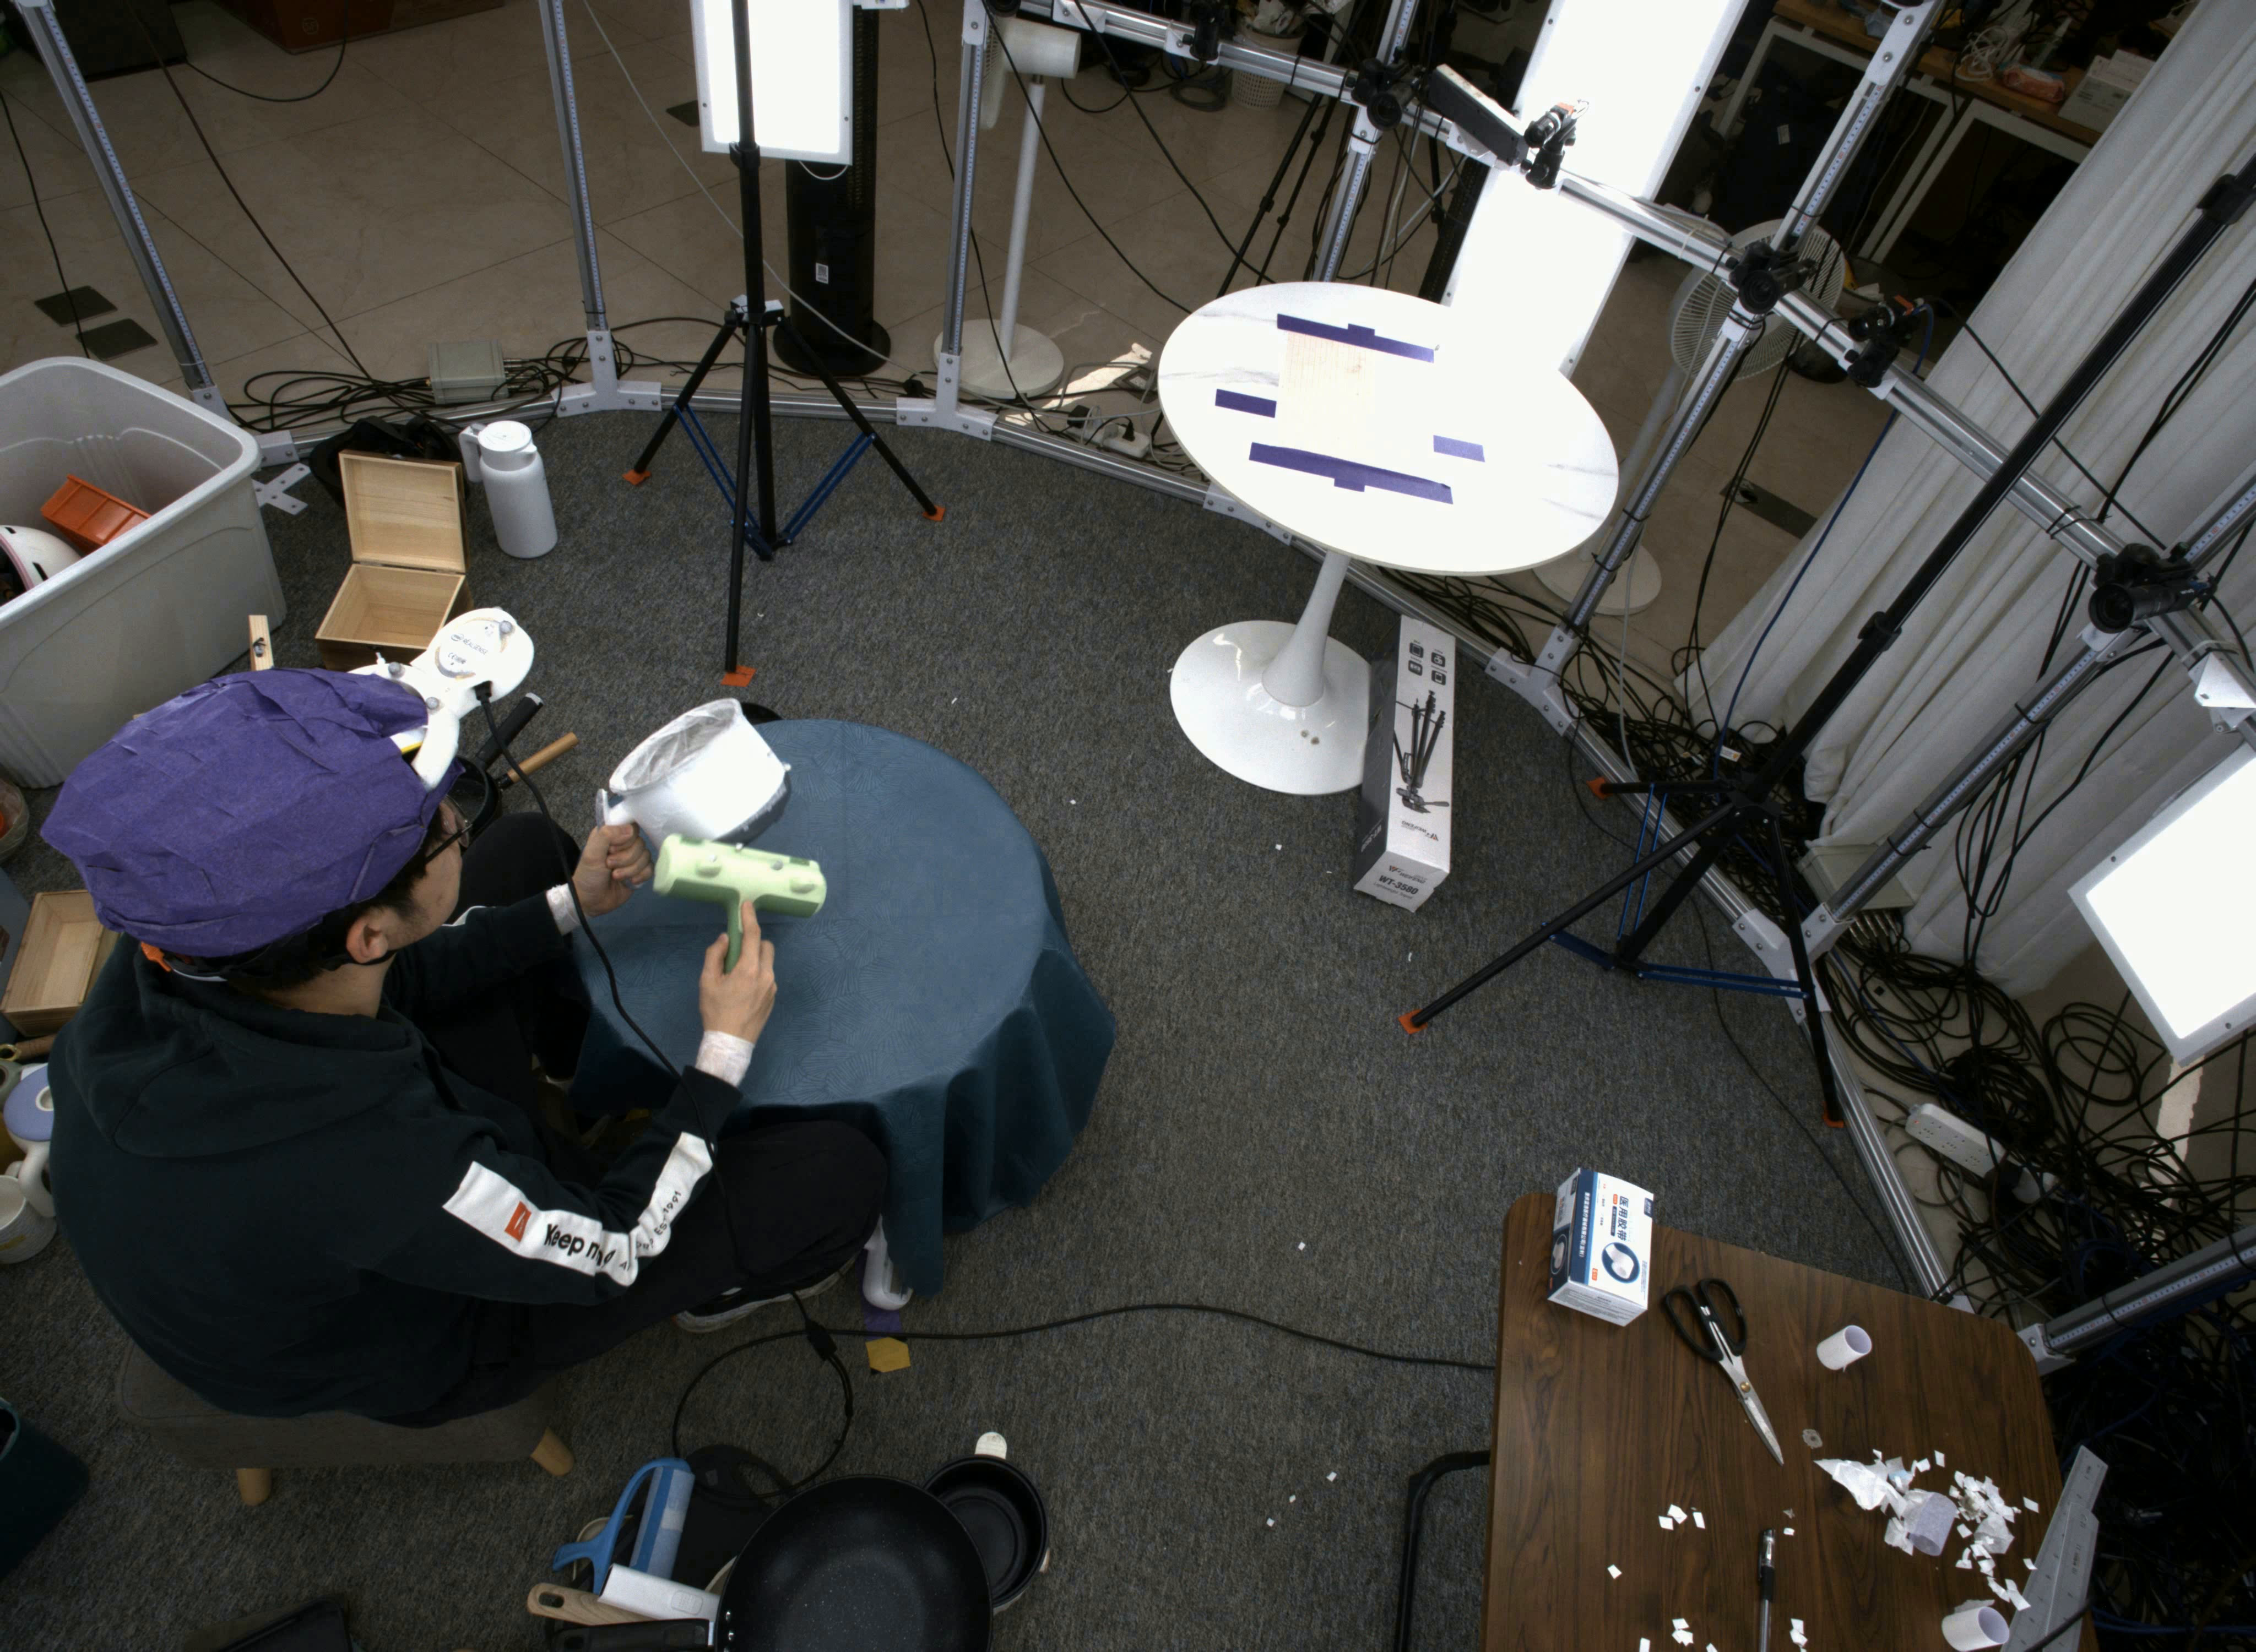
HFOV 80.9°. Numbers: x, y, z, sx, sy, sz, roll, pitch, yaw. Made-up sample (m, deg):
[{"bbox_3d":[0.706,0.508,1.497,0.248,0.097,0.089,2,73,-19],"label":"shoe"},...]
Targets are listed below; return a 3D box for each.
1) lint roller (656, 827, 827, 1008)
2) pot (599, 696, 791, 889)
[{"bbox_3d":[-0.425,0.103,1.442,0.204,0.081,0.181,17,57,-44],"label":"lint roller"},{"bbox_3d":[-0.521,-0.033,1.514,0.233,0.141,0.172,-36,31,-14],"label":"pot"}]
